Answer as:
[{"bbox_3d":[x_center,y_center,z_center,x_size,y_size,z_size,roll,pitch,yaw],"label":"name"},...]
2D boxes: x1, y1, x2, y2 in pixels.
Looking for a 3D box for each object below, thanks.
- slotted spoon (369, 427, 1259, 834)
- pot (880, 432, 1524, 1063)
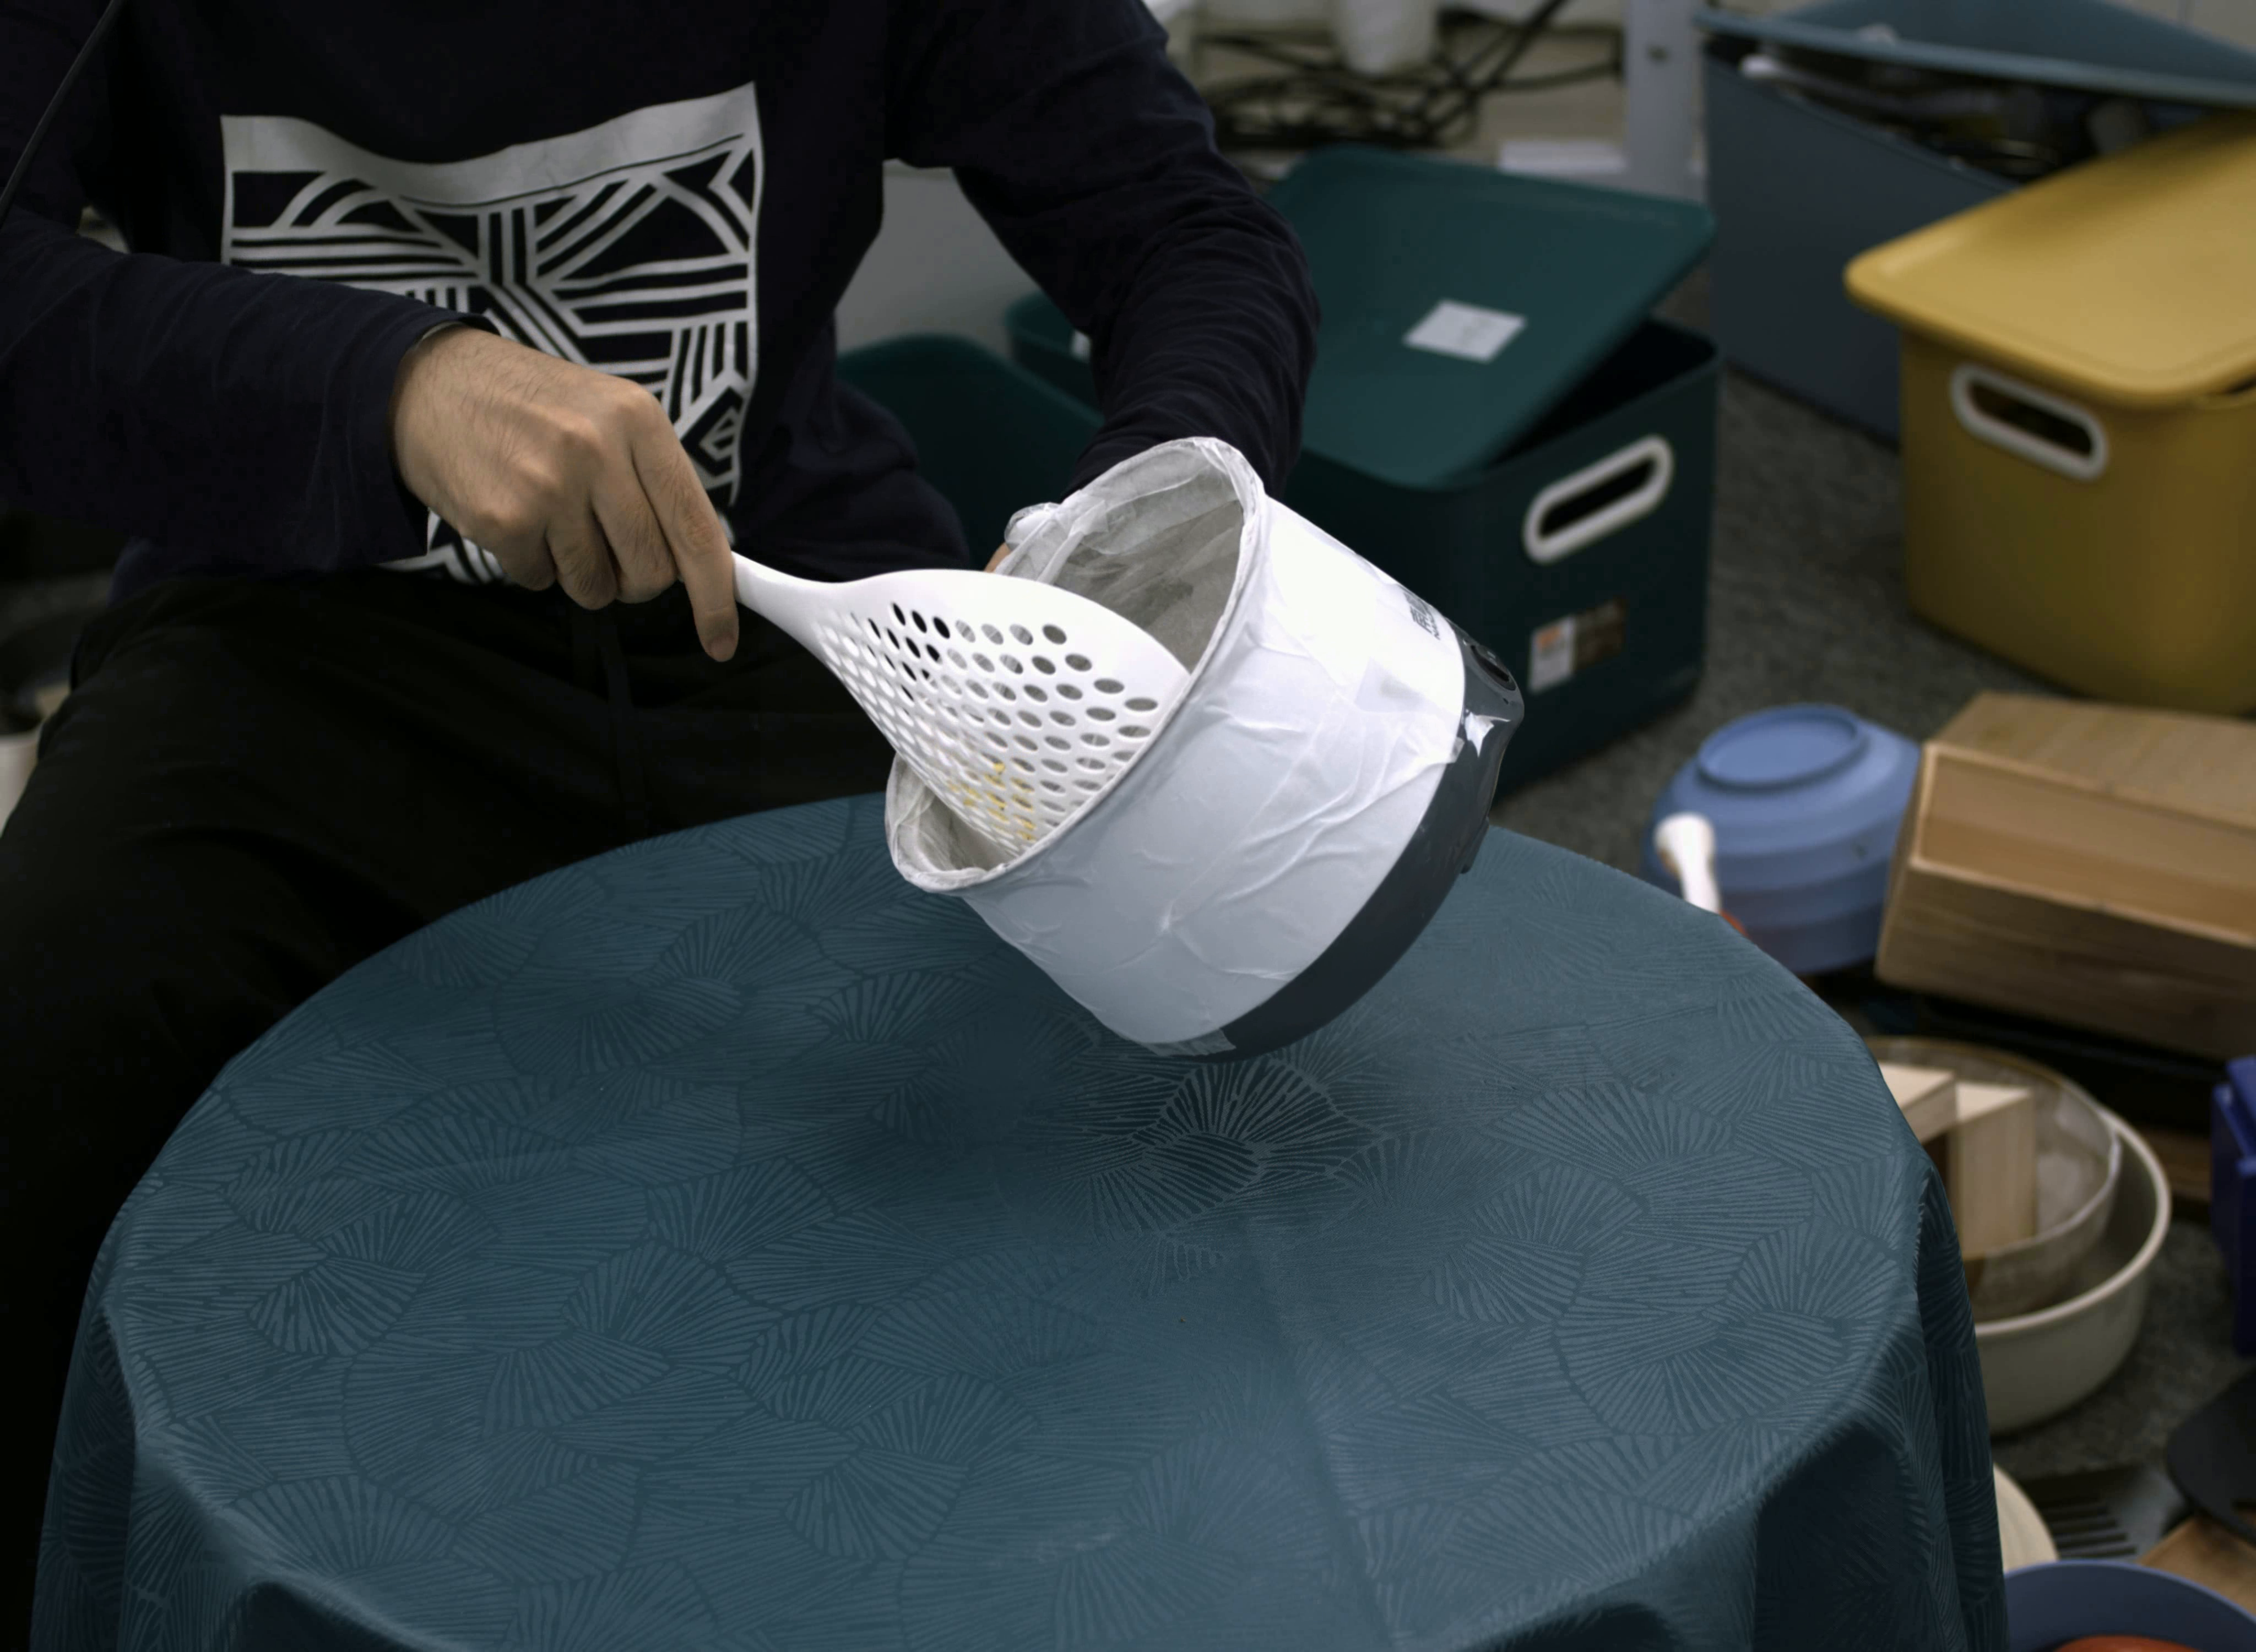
[{"bbox_3d":[-0.106,-0.067,1.864,0.348,0.135,0.051,28,56,26],"label":"slotted spoon"},{"bbox_3d":[0.020,-0.034,1.883,0.177,0.136,0.236,-44,28,11],"label":"pot"}]
